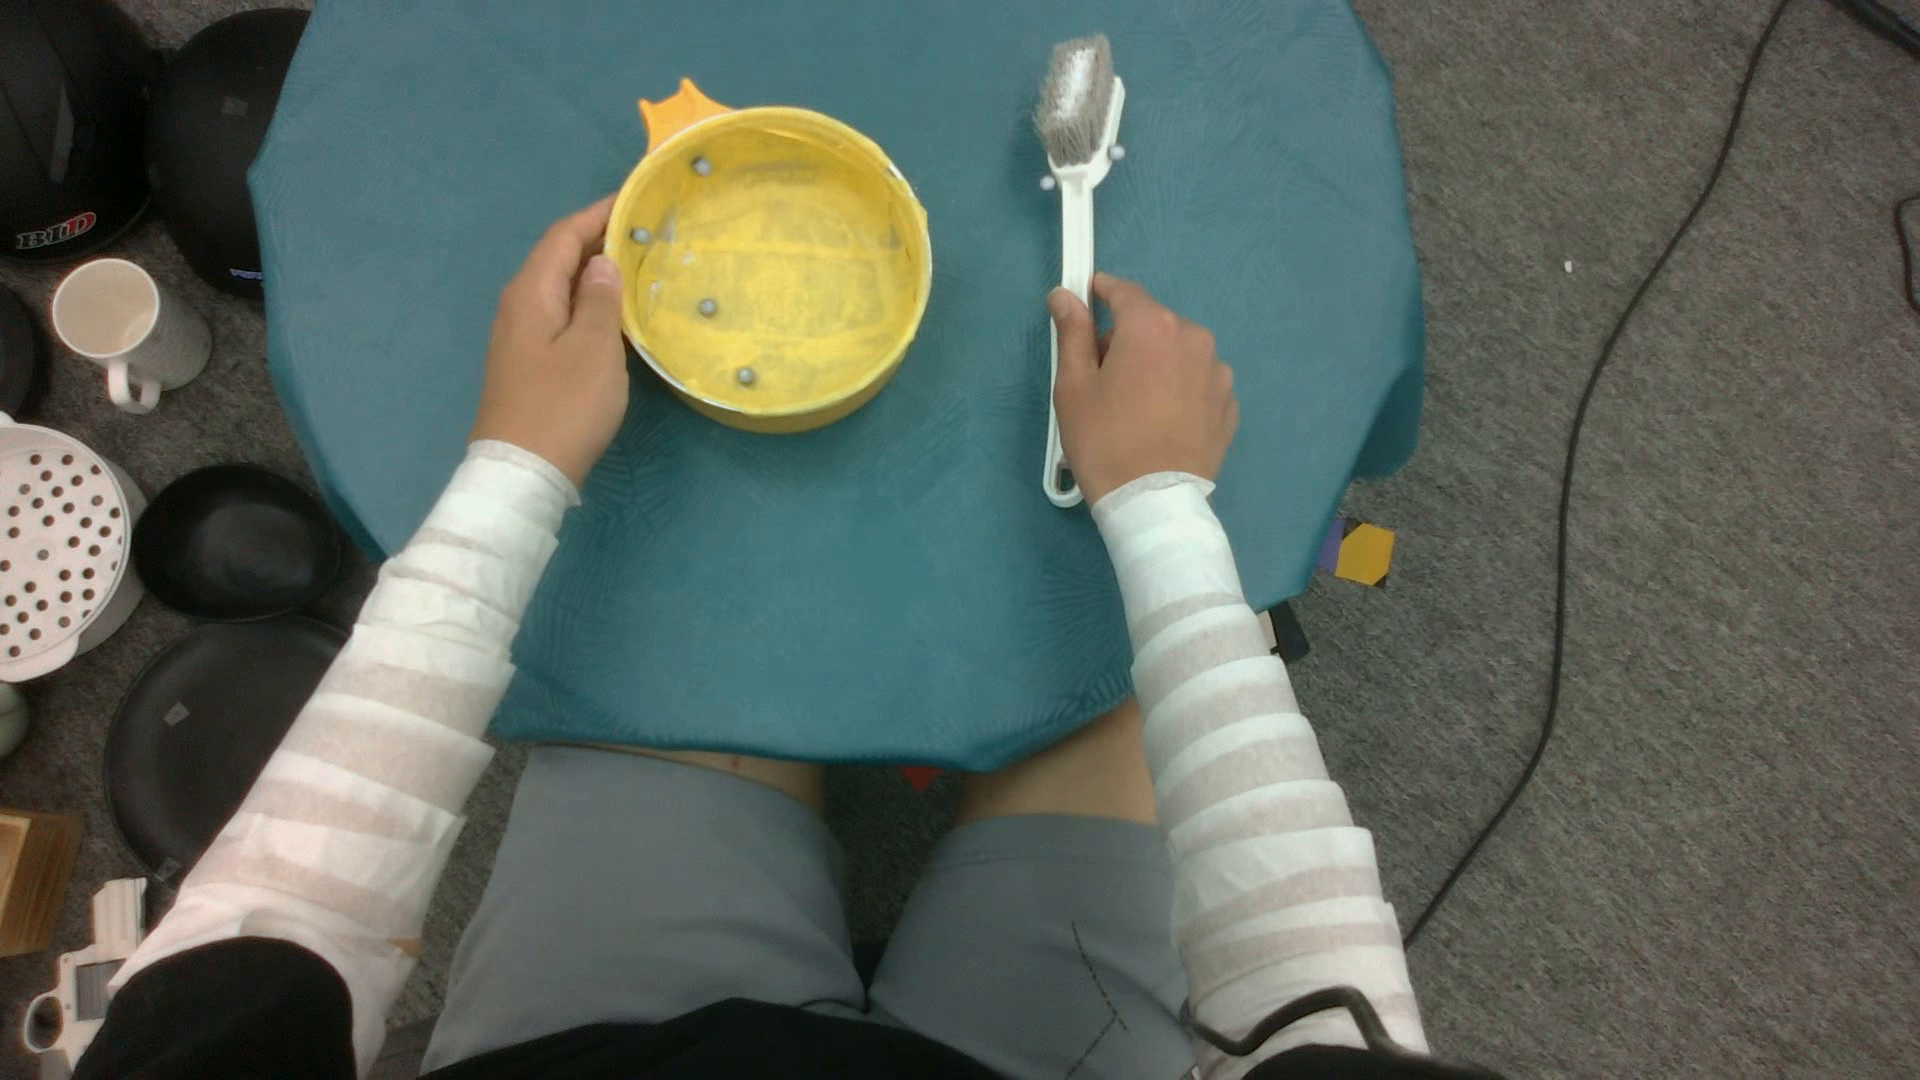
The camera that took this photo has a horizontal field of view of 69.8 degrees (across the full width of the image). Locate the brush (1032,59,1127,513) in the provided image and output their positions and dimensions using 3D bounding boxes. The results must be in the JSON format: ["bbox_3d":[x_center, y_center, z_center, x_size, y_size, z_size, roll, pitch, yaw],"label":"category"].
[{"bbox_3d":[0.057,-0.136,0.712,0.034,0.050,0.244,3,76,19],"label":"brush"}]

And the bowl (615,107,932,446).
[{"bbox_3d":[-0.096,-0.133,0.694,0.153,0.074,0.179,-35,82,-6],"label":"bowl"}]
